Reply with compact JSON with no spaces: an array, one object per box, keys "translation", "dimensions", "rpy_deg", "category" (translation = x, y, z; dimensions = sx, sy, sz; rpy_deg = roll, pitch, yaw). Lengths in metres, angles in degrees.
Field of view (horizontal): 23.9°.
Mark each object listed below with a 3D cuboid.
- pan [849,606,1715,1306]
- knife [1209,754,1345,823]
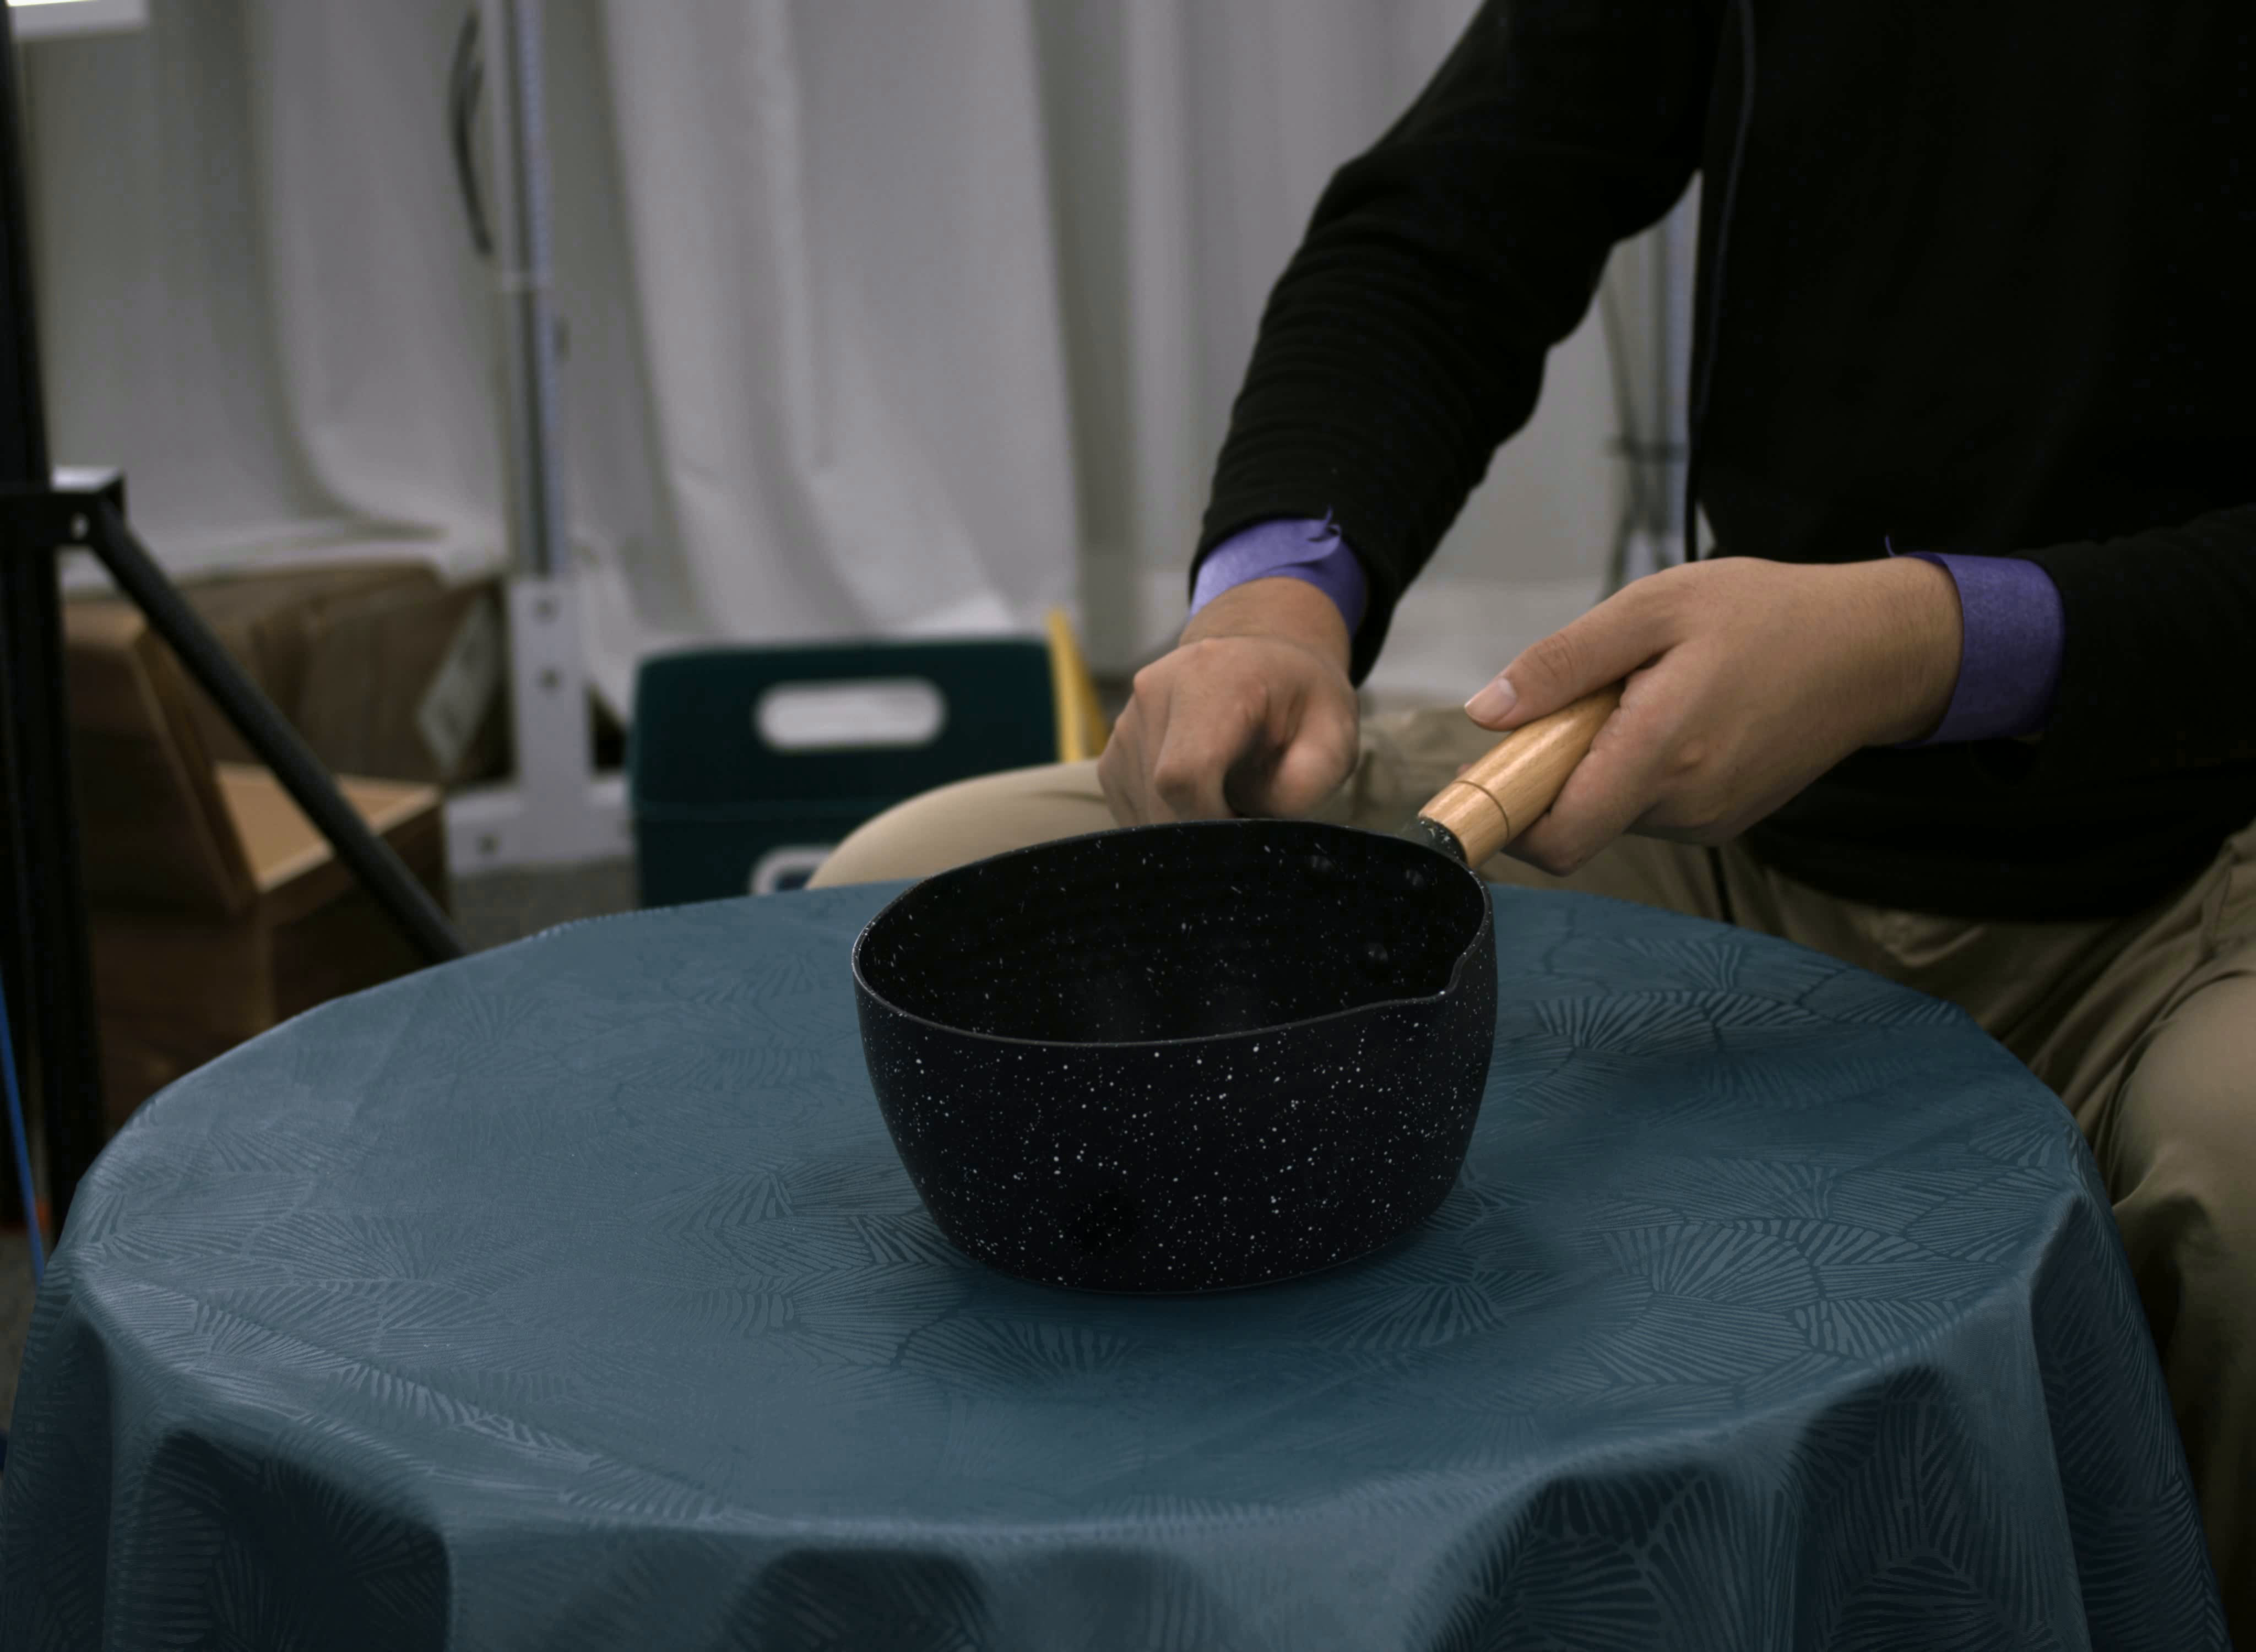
[{"translation":[0.066,0.034,1.573],"dimensions":[0.212,0.108,0.336],"rpy_deg":[11,26,41],"category":"pan"},{"translation":[0.046,-0.009,1.630],"dimensions":[0.024,0.016,0.239],"rpy_deg":[-29,5,-3],"category":"knife"}]
